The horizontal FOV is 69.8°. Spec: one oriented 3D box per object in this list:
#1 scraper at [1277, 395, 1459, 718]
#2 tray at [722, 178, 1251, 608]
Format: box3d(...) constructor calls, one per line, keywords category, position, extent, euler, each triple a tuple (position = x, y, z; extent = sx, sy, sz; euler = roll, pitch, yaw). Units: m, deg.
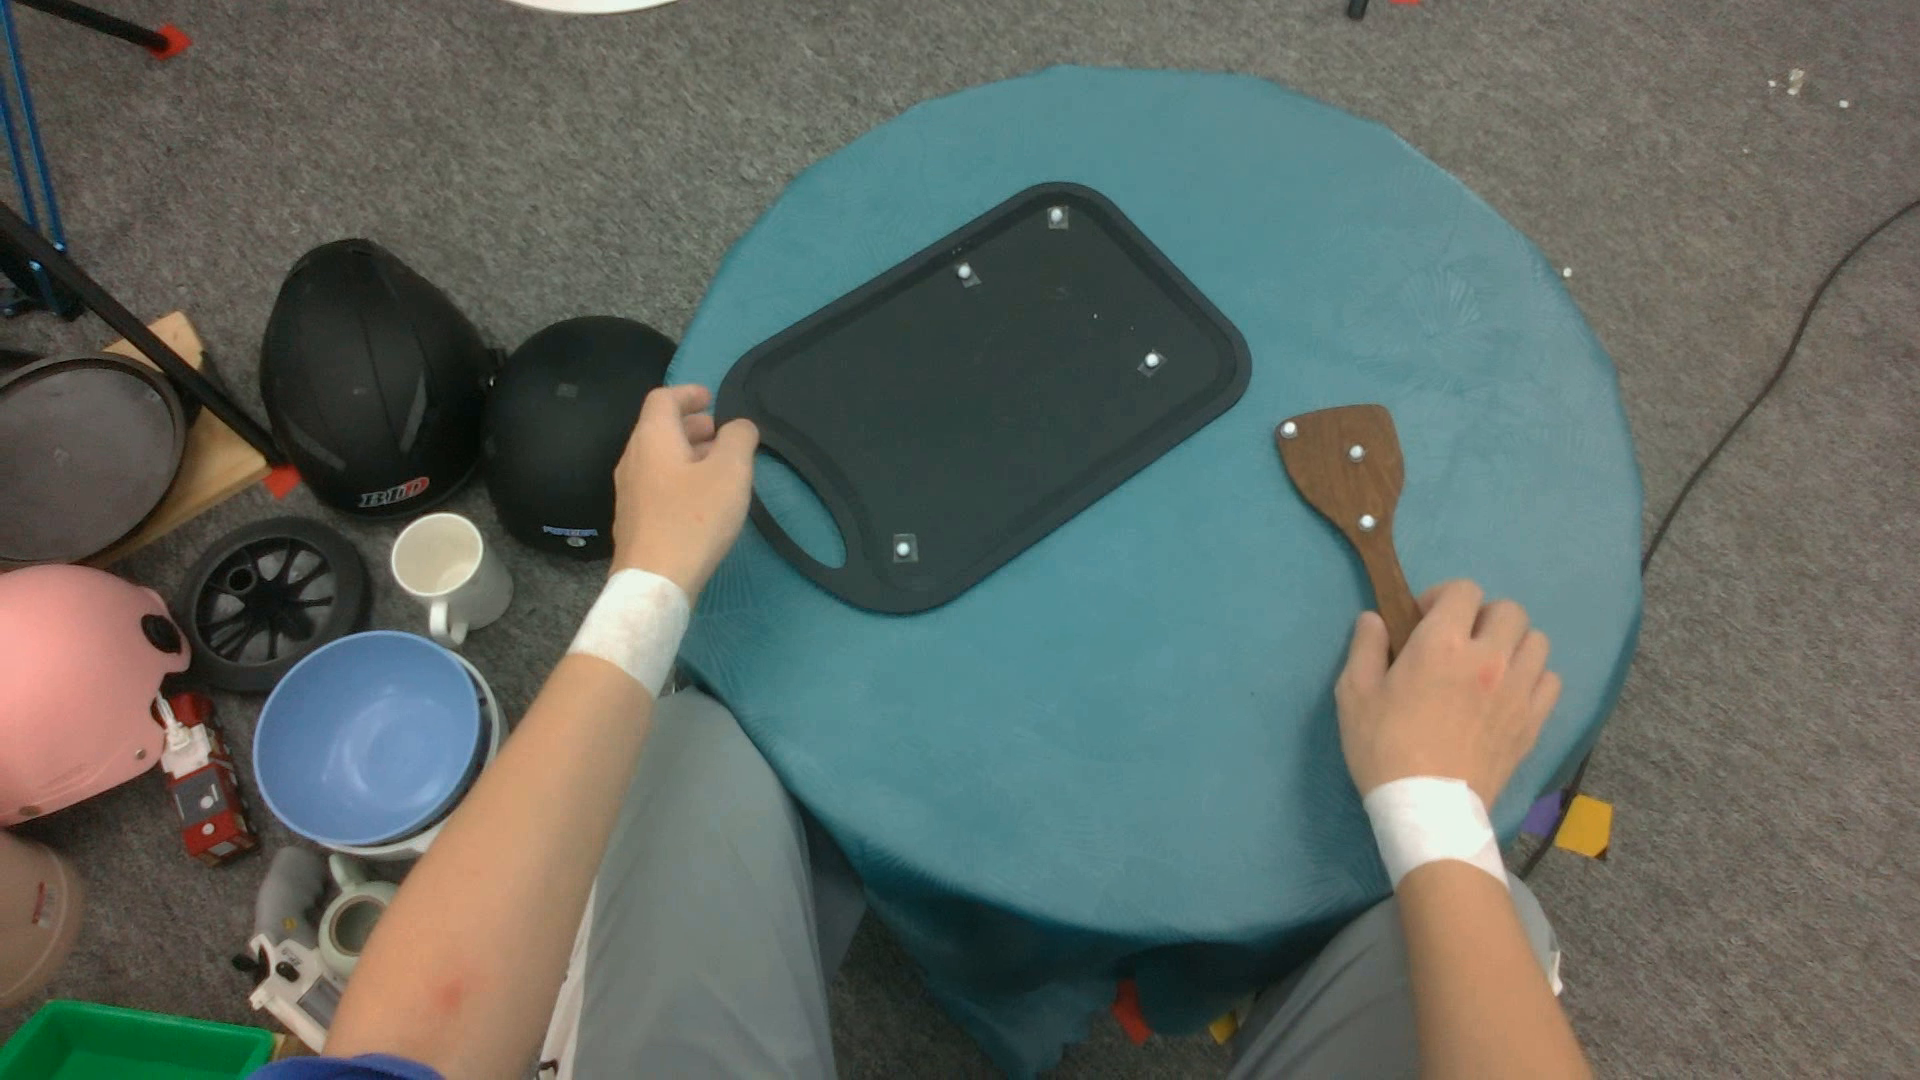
box3d(category="scraper", position=(0.248, 0.006, 0.813), extent=(0.076, 0.011, 0.212), euler=(-9, 62, -3))
box3d(category="tray", position=(0.013, -0.098, 0.868), extent=(0.326, 0.010, 0.211), euler=(-34, 70, -14))
